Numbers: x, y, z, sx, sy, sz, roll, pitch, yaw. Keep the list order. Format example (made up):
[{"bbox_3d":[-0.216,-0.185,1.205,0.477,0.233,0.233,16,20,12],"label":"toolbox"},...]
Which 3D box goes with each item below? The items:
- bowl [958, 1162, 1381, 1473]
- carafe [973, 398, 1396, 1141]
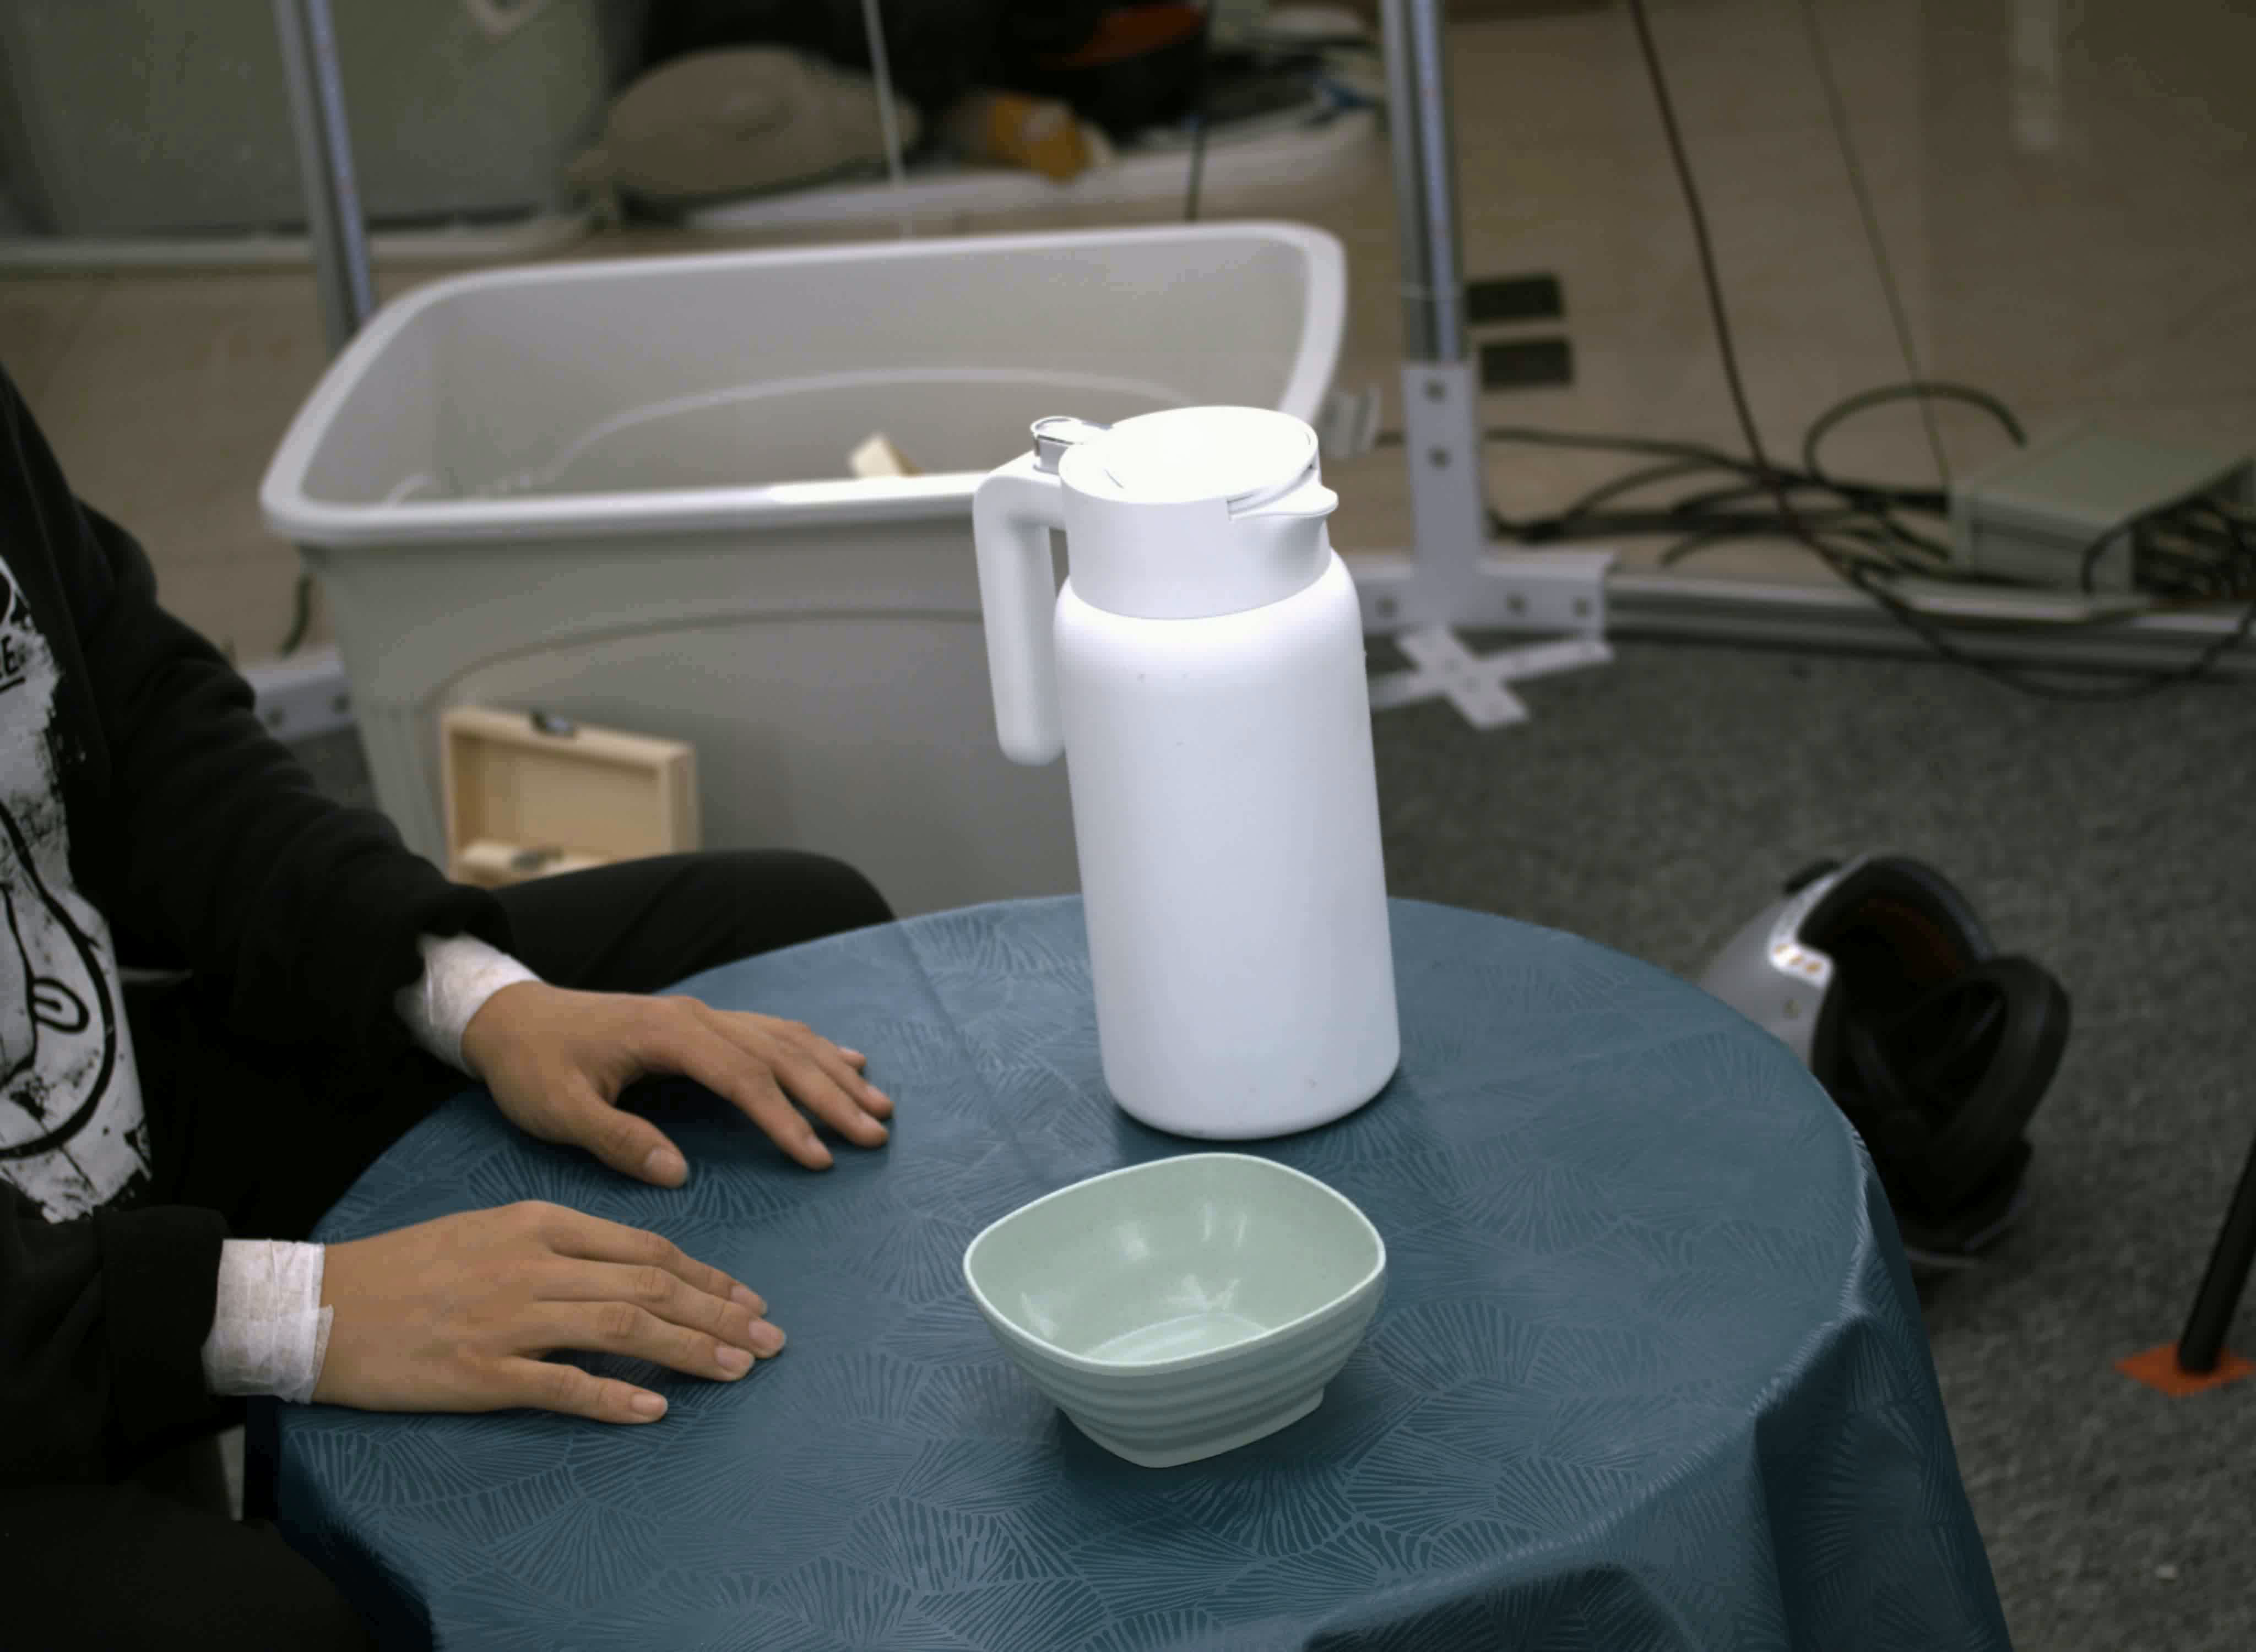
[{"bbox_3d":[0.017,0.179,1.998,0.151,0.059,0.149,-5,25,2],"label":"bowl"},{"bbox_3d":[0.021,-0.023,2.172,0.172,0.273,0.122,15,35,37],"label":"carafe"}]
